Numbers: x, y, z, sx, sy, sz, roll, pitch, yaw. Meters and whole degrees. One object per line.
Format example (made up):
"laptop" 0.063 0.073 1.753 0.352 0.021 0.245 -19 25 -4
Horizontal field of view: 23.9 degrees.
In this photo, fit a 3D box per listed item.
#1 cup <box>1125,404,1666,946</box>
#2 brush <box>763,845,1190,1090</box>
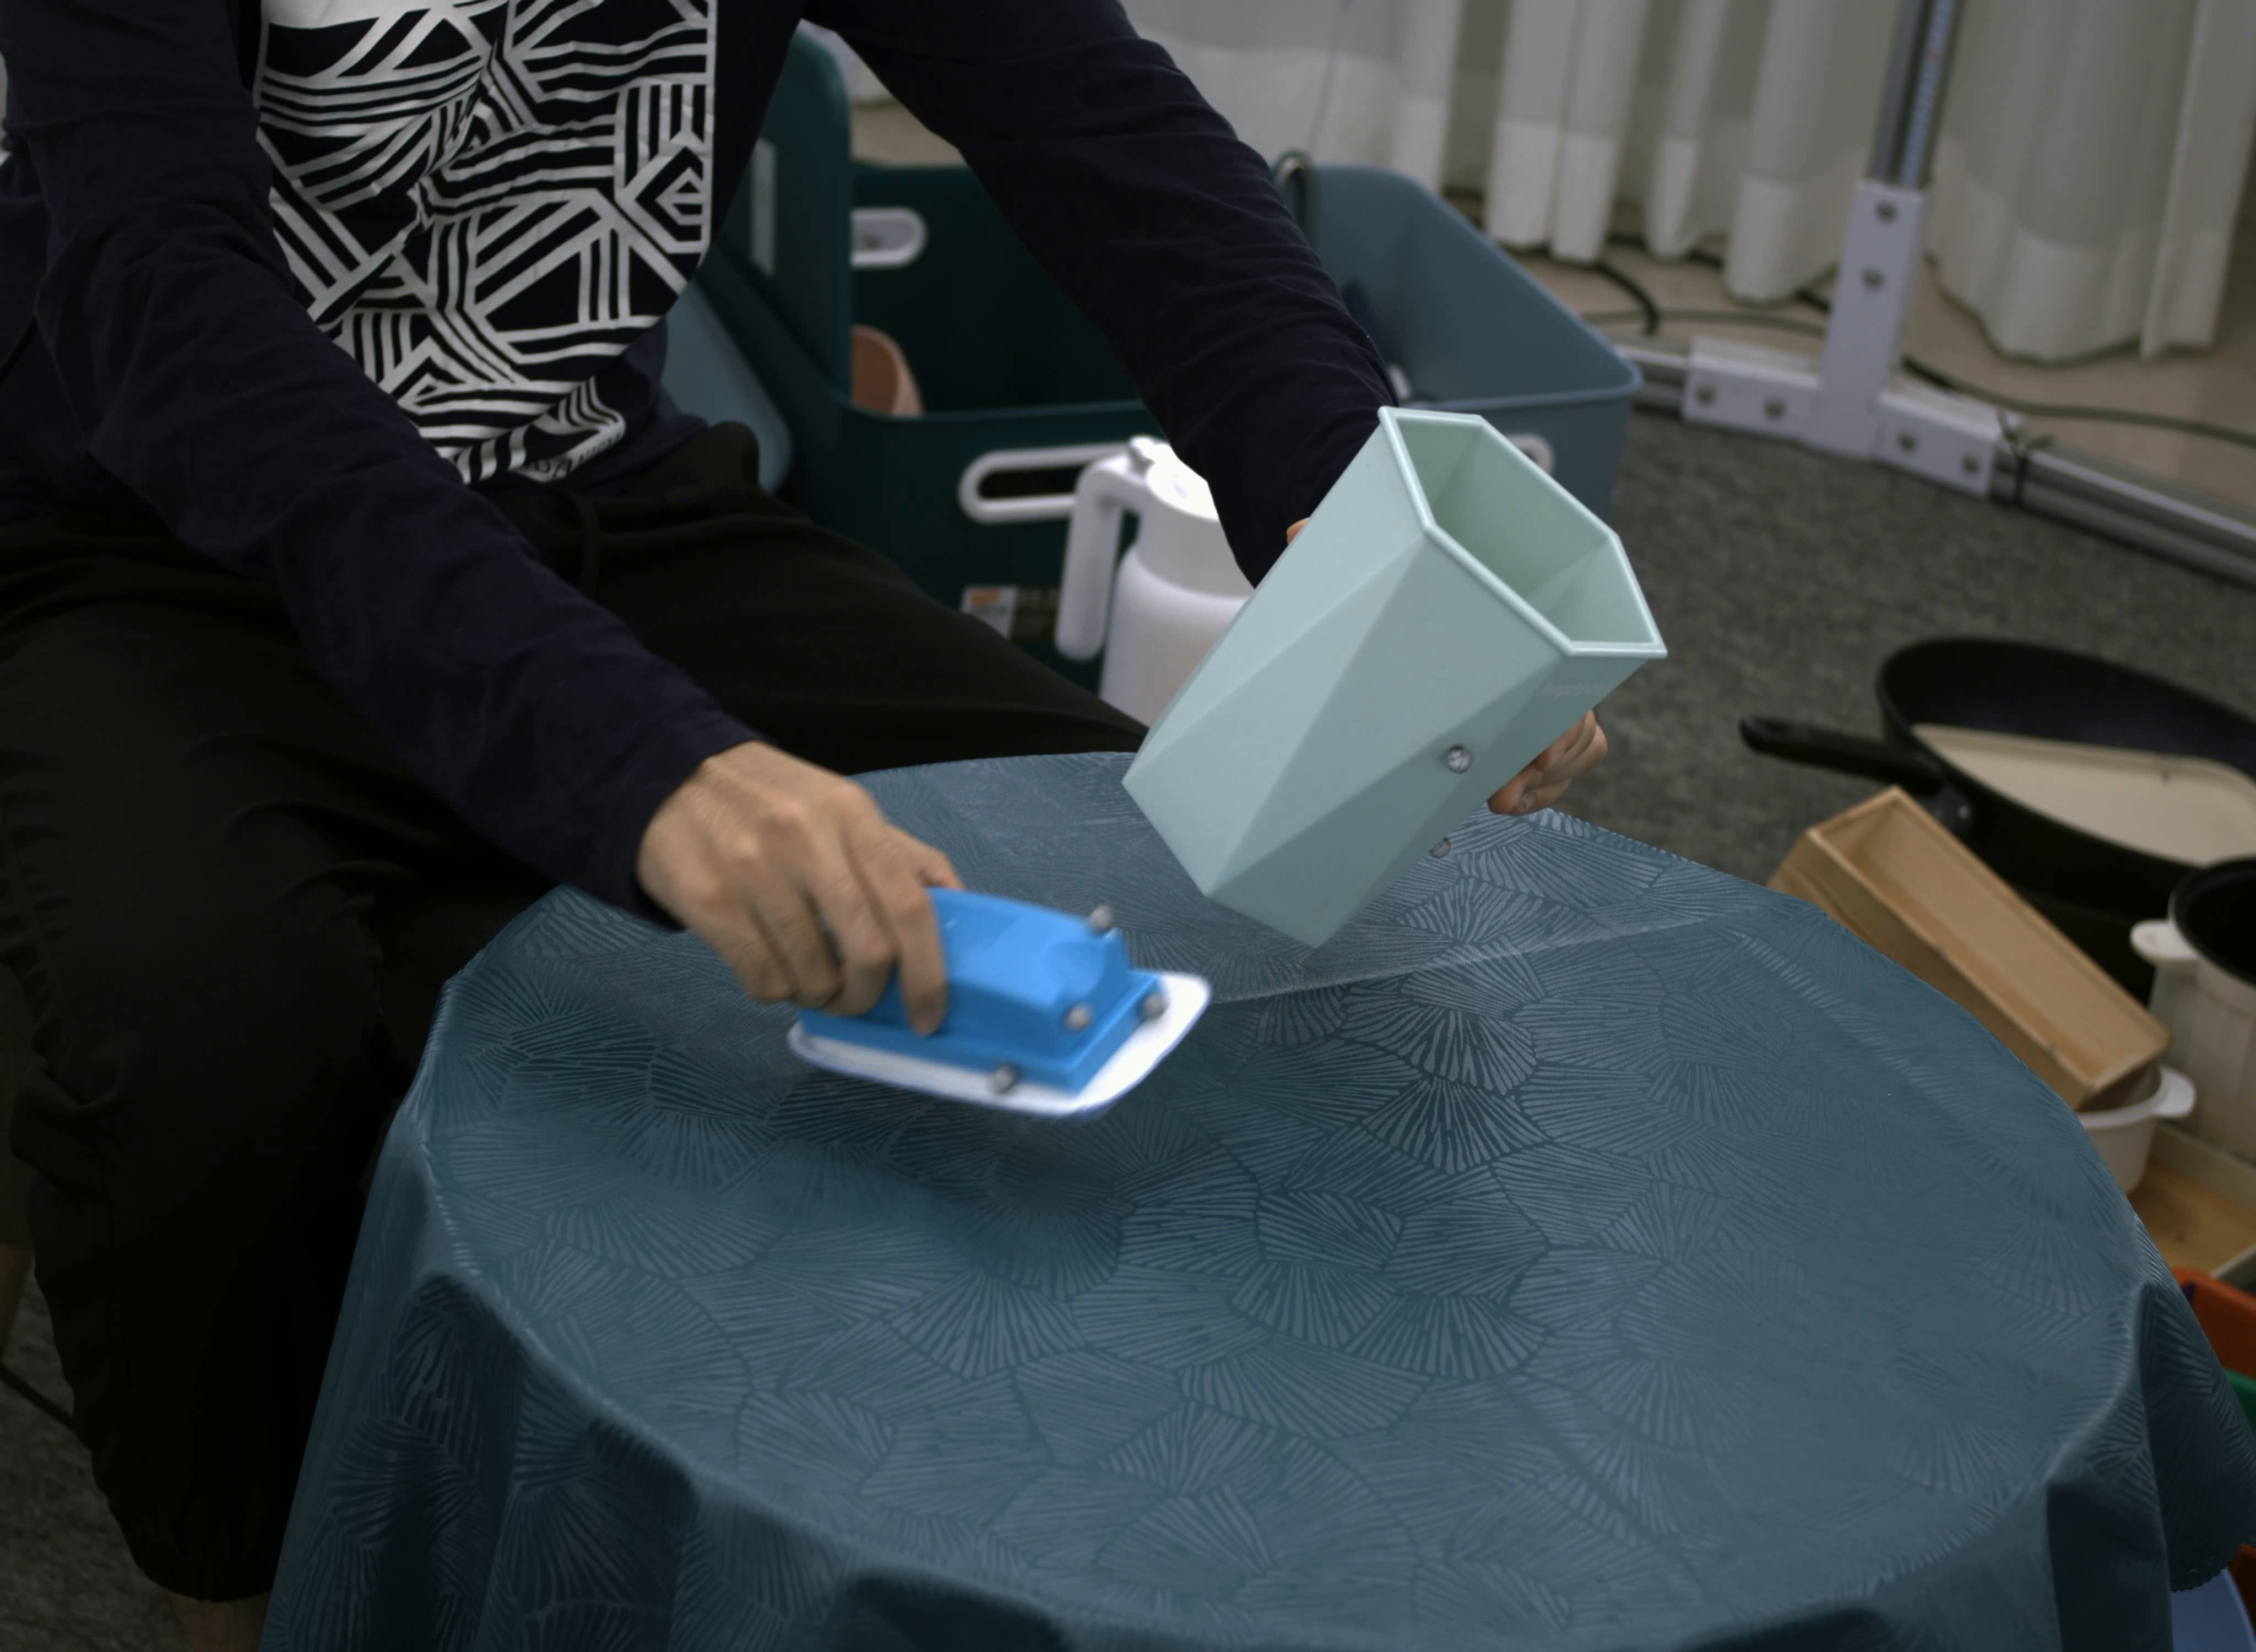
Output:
"cup" 0.088 -0.049 1.861 0.116 0.163 0.130 52 28 21
"brush" -0.054 0.045 1.810 0.145 0.055 0.084 14 39 36
